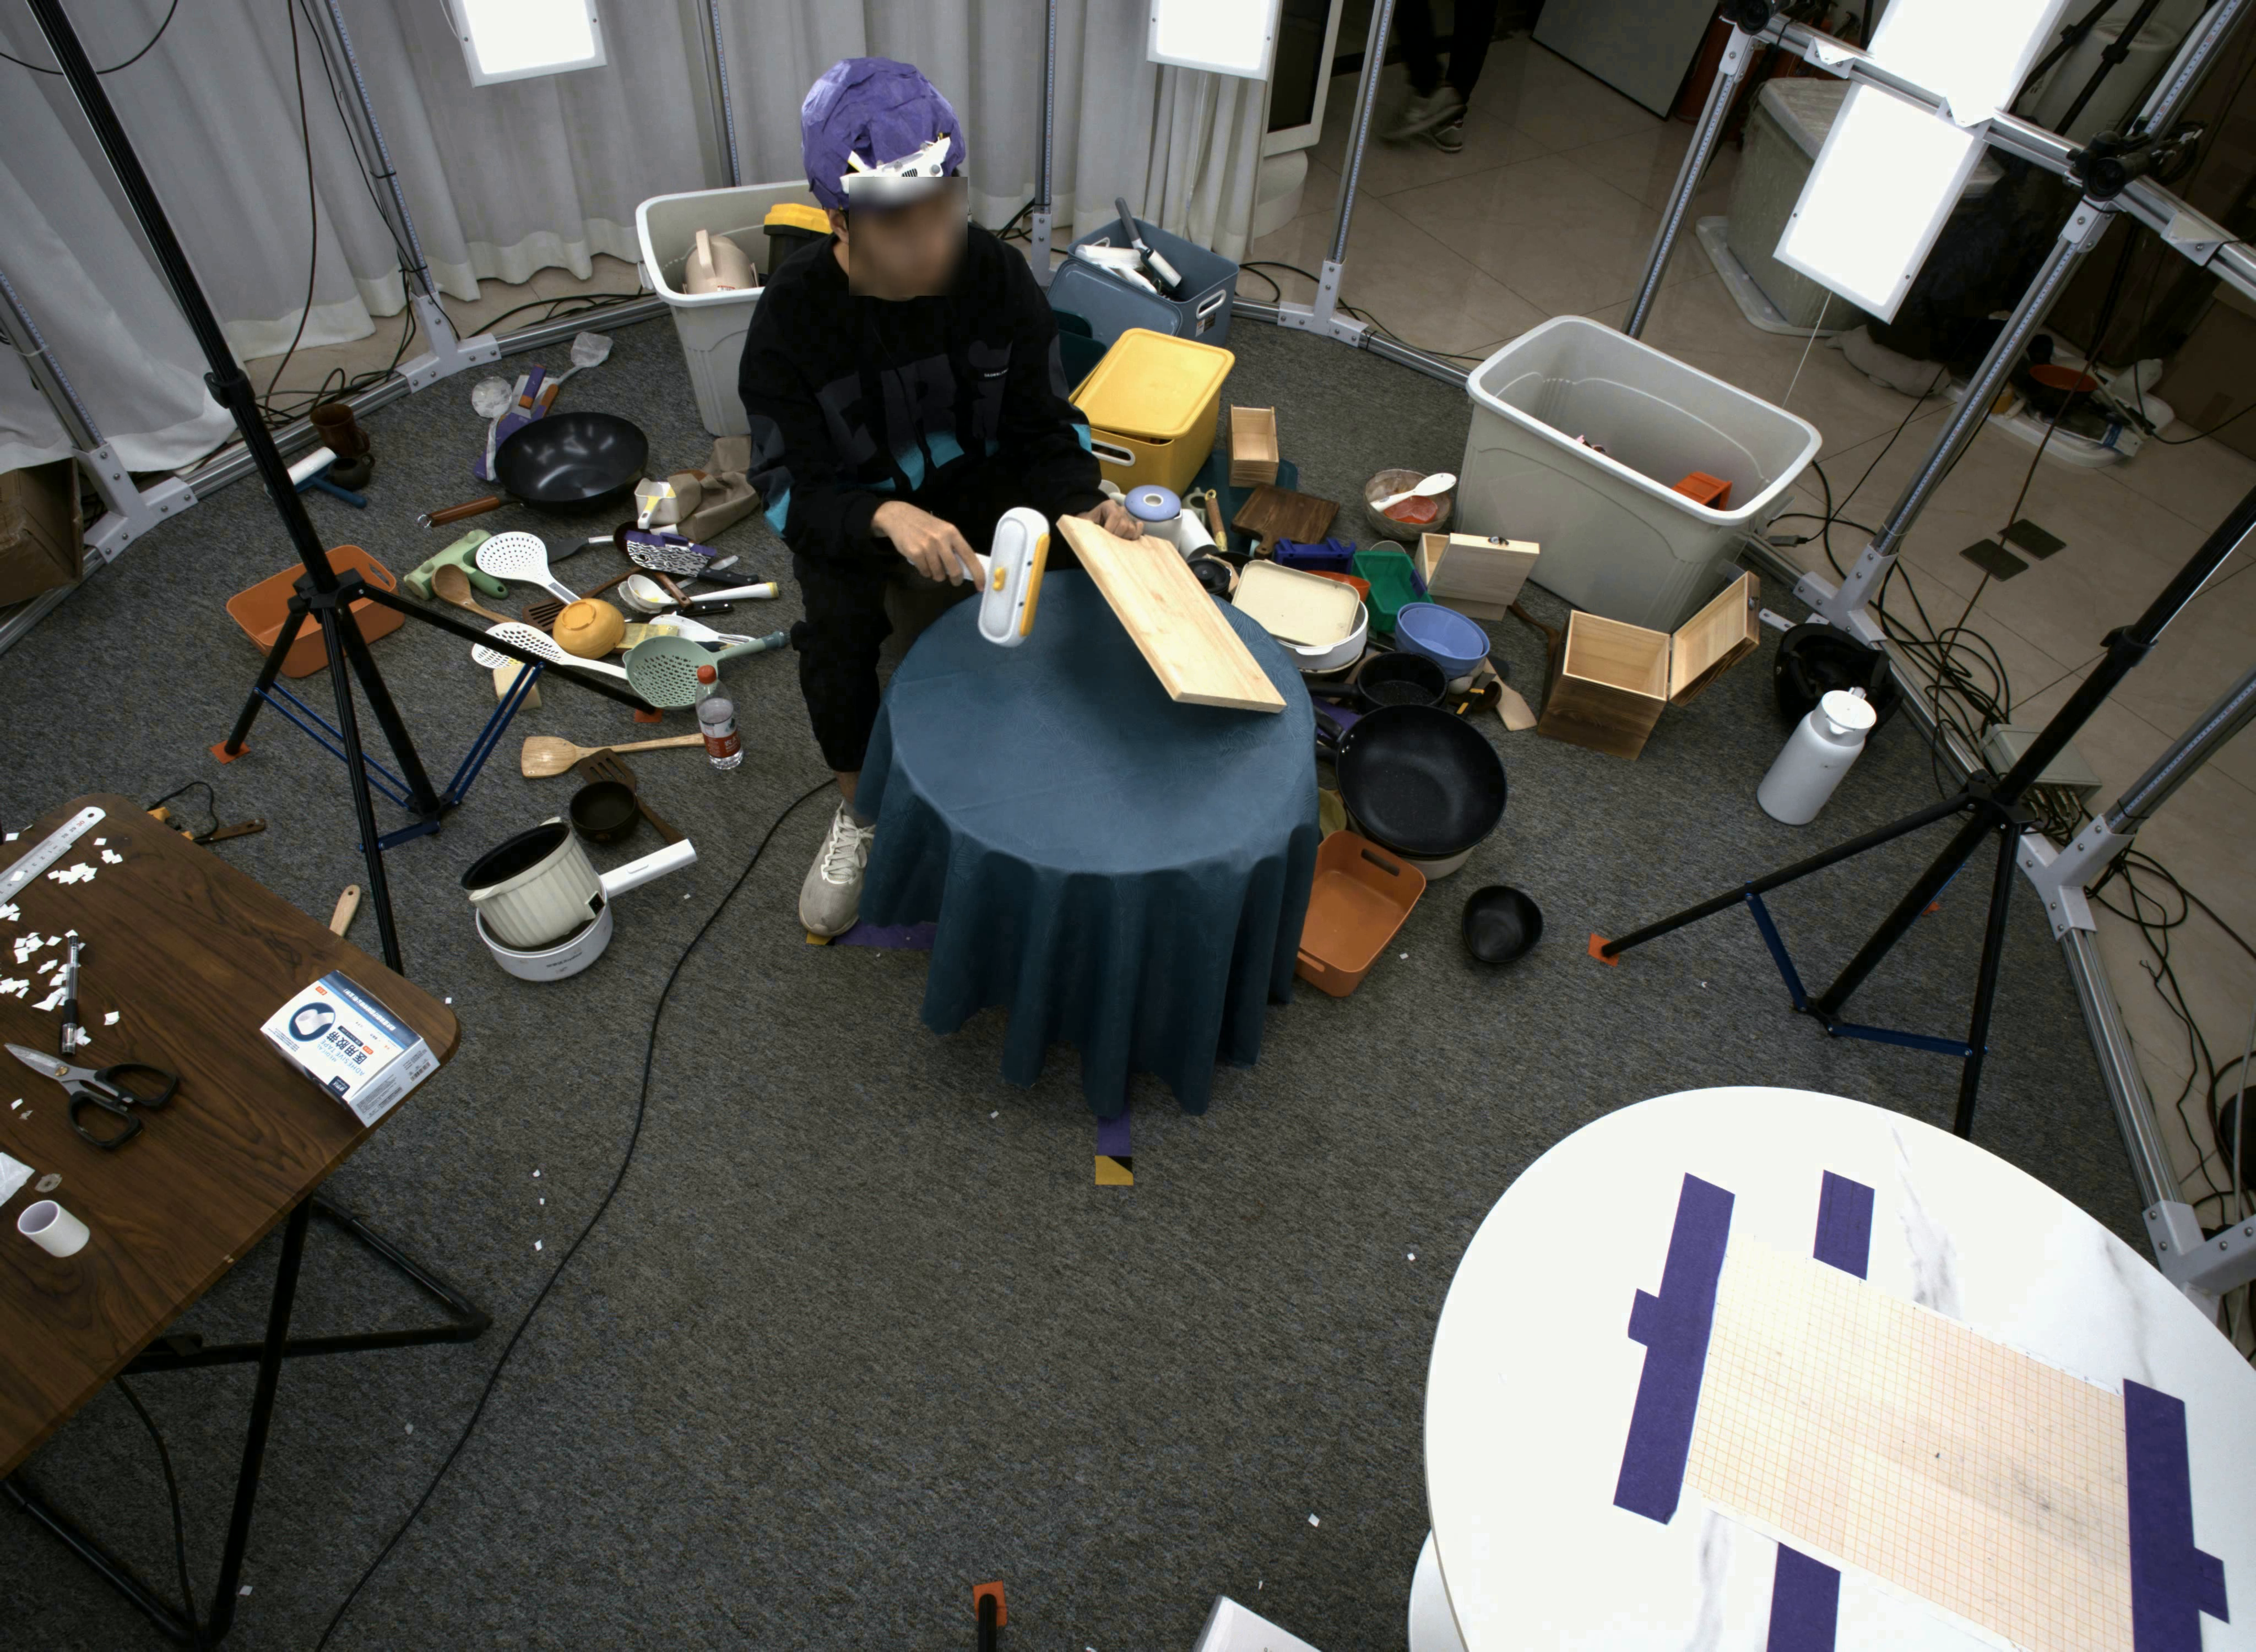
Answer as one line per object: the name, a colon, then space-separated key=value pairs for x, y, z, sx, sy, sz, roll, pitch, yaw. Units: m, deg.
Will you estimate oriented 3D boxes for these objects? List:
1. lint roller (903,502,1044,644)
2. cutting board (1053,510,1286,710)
lint roller: x=-0.215 y=-0.359 z=1.781 sx=0.193 sy=0.189 sz=0.075 roll=17 pitch=25 yaw=18
cutting board: x=0.059 y=-0.302 z=1.811 sx=0.249 sy=0.023 sz=0.355 roll=1 pitch=49 yaw=-48
